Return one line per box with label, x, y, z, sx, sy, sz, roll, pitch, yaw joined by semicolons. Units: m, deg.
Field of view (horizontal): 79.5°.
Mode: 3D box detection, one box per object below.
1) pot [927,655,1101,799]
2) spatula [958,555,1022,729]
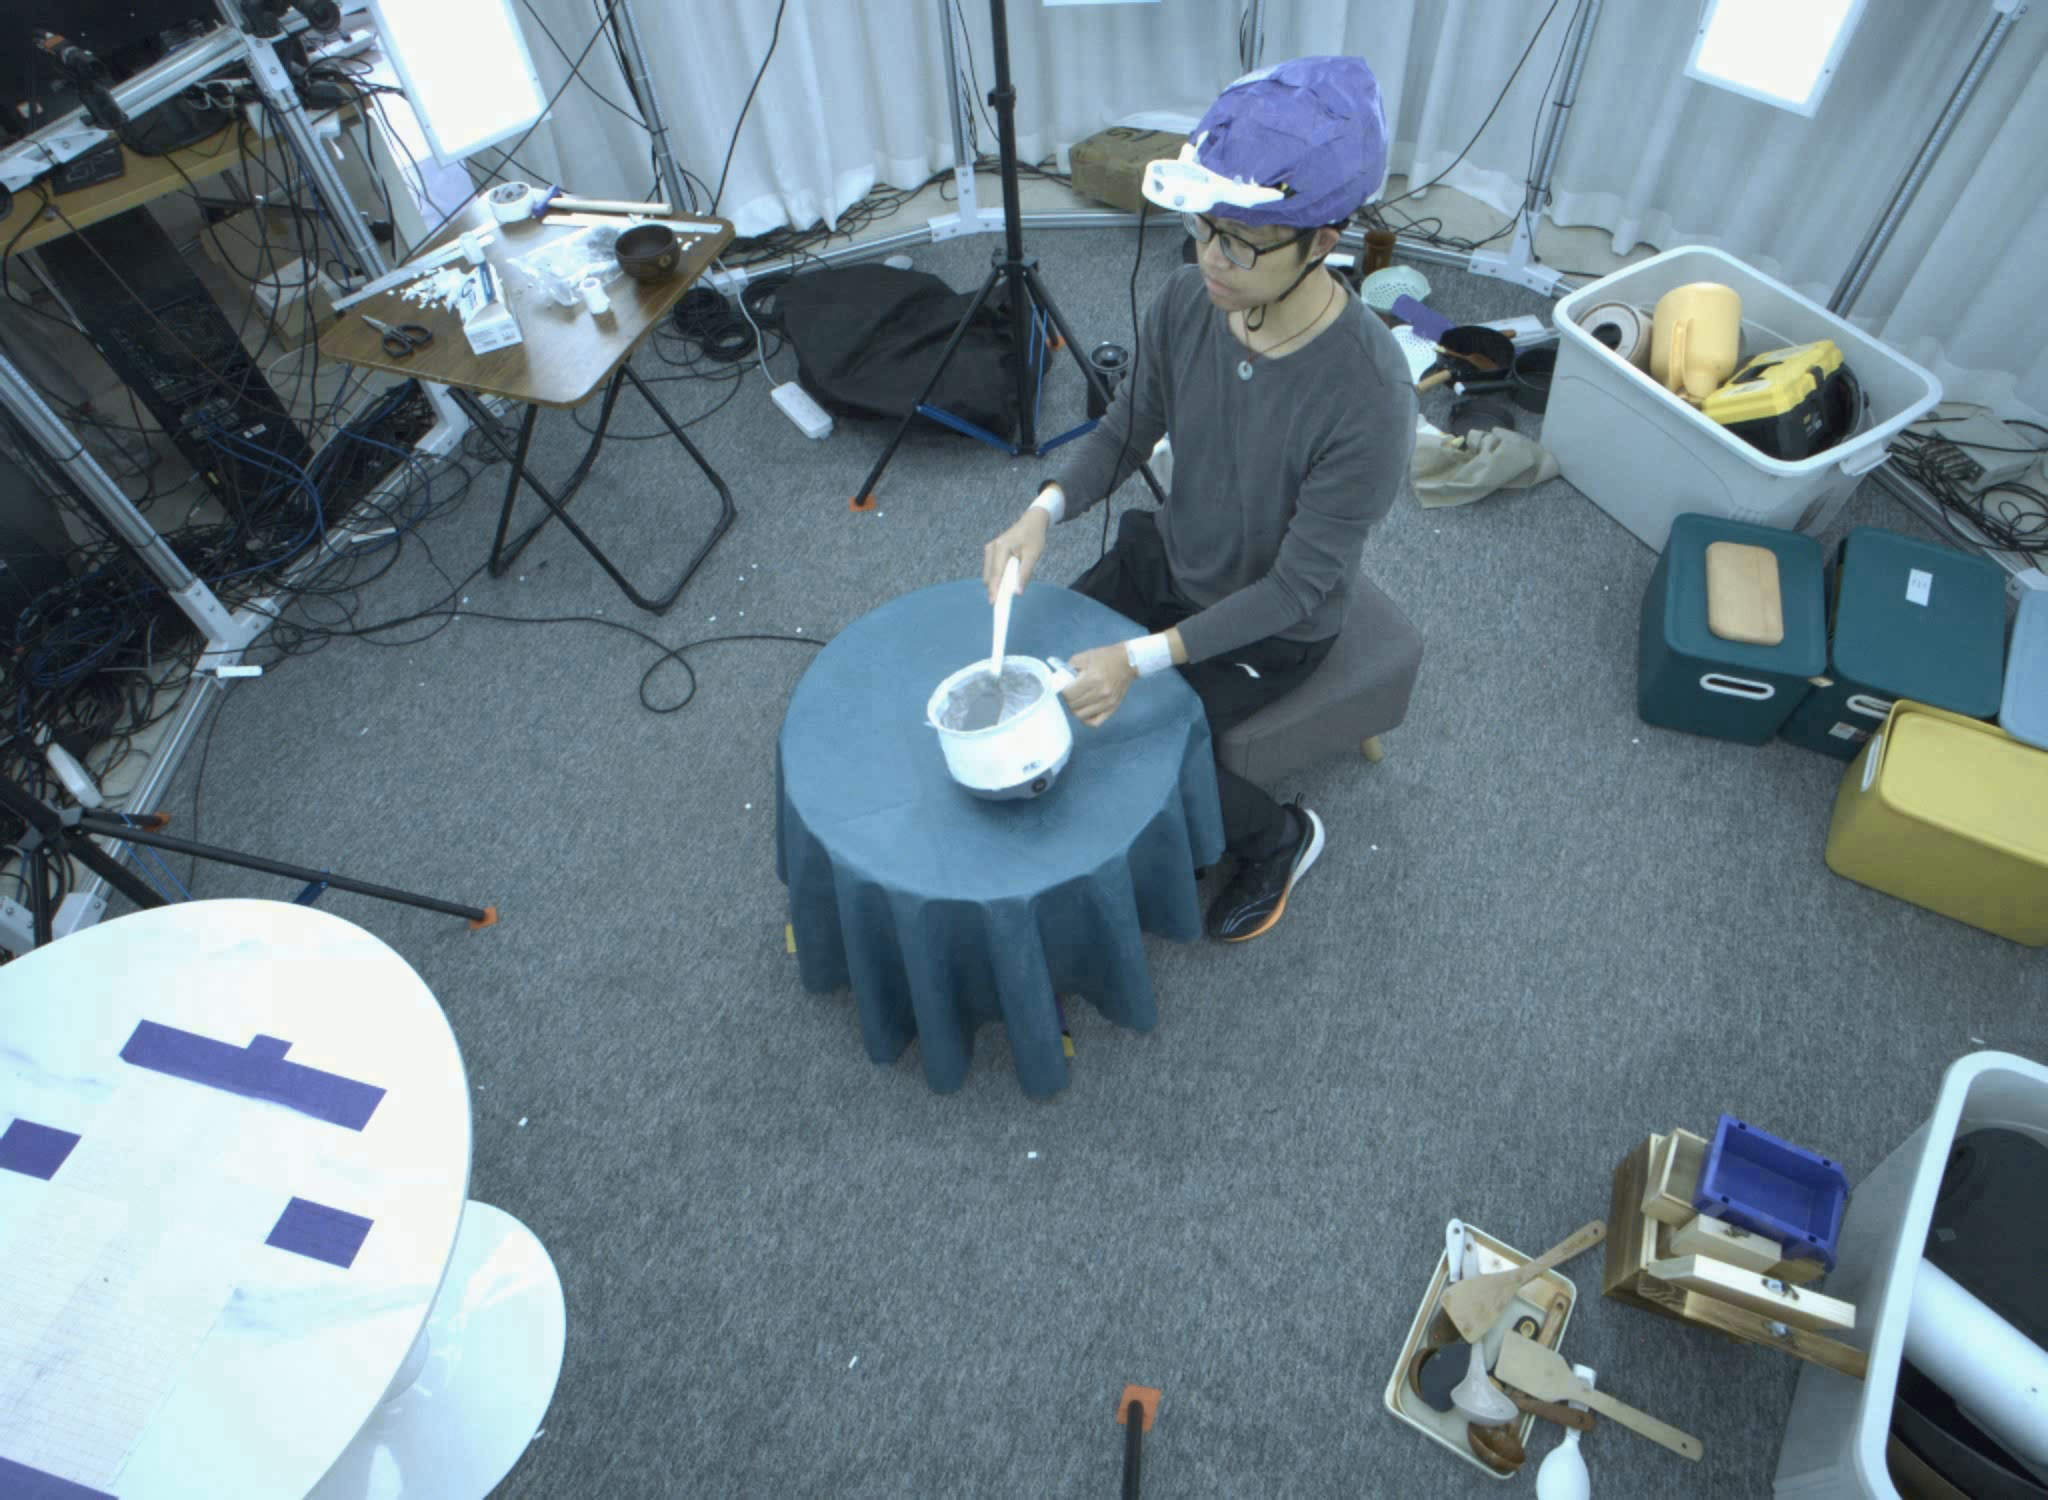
pot;-0.006;-0.042;1.716;0.235;0.139;0.174;-29;37;-14
spatula;-0.043;-0.144;1.730;0.058;0.033;0.286;3;69;19
